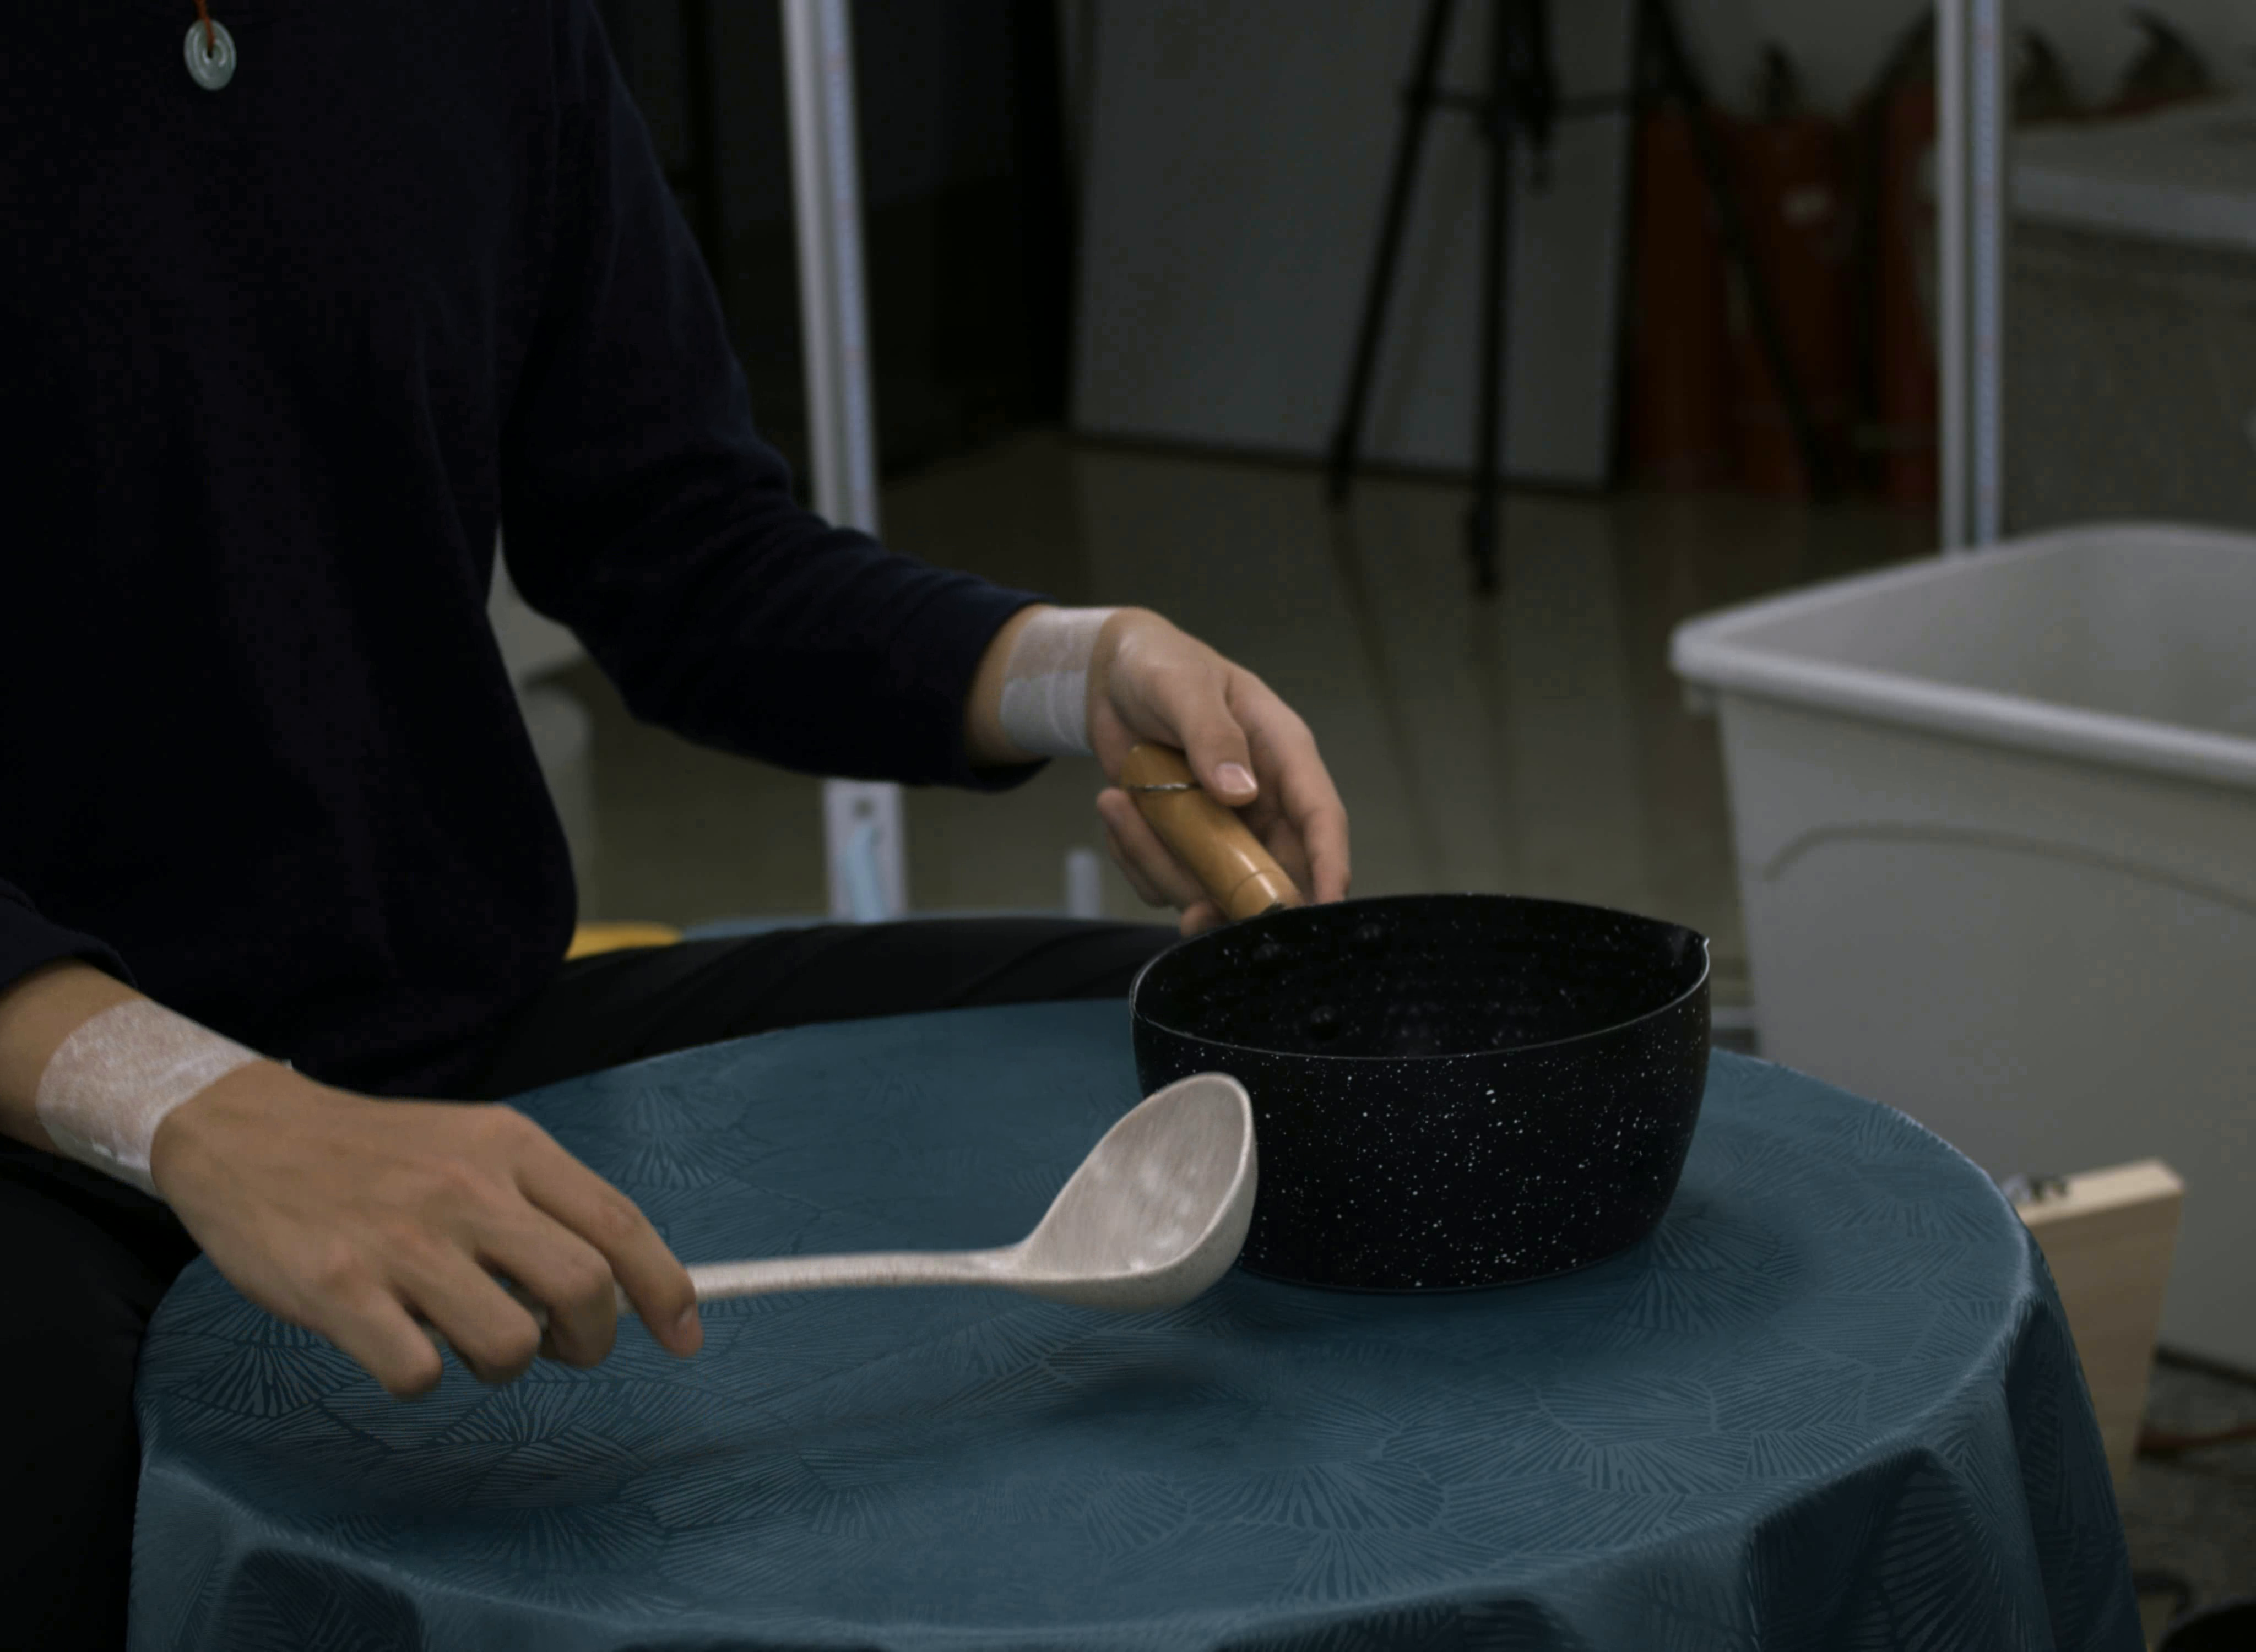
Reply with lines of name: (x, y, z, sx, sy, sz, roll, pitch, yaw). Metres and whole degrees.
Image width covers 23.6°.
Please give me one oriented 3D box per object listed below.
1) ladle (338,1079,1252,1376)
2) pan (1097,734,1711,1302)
ladle: (-0.093, 0.114, 1.556, 0.269, 0.070, 0.090, -2, 13, -21)
pan: (0.066, 0.058, 1.781, 0.203, 0.109, 0.346, -10, 16, -18)
